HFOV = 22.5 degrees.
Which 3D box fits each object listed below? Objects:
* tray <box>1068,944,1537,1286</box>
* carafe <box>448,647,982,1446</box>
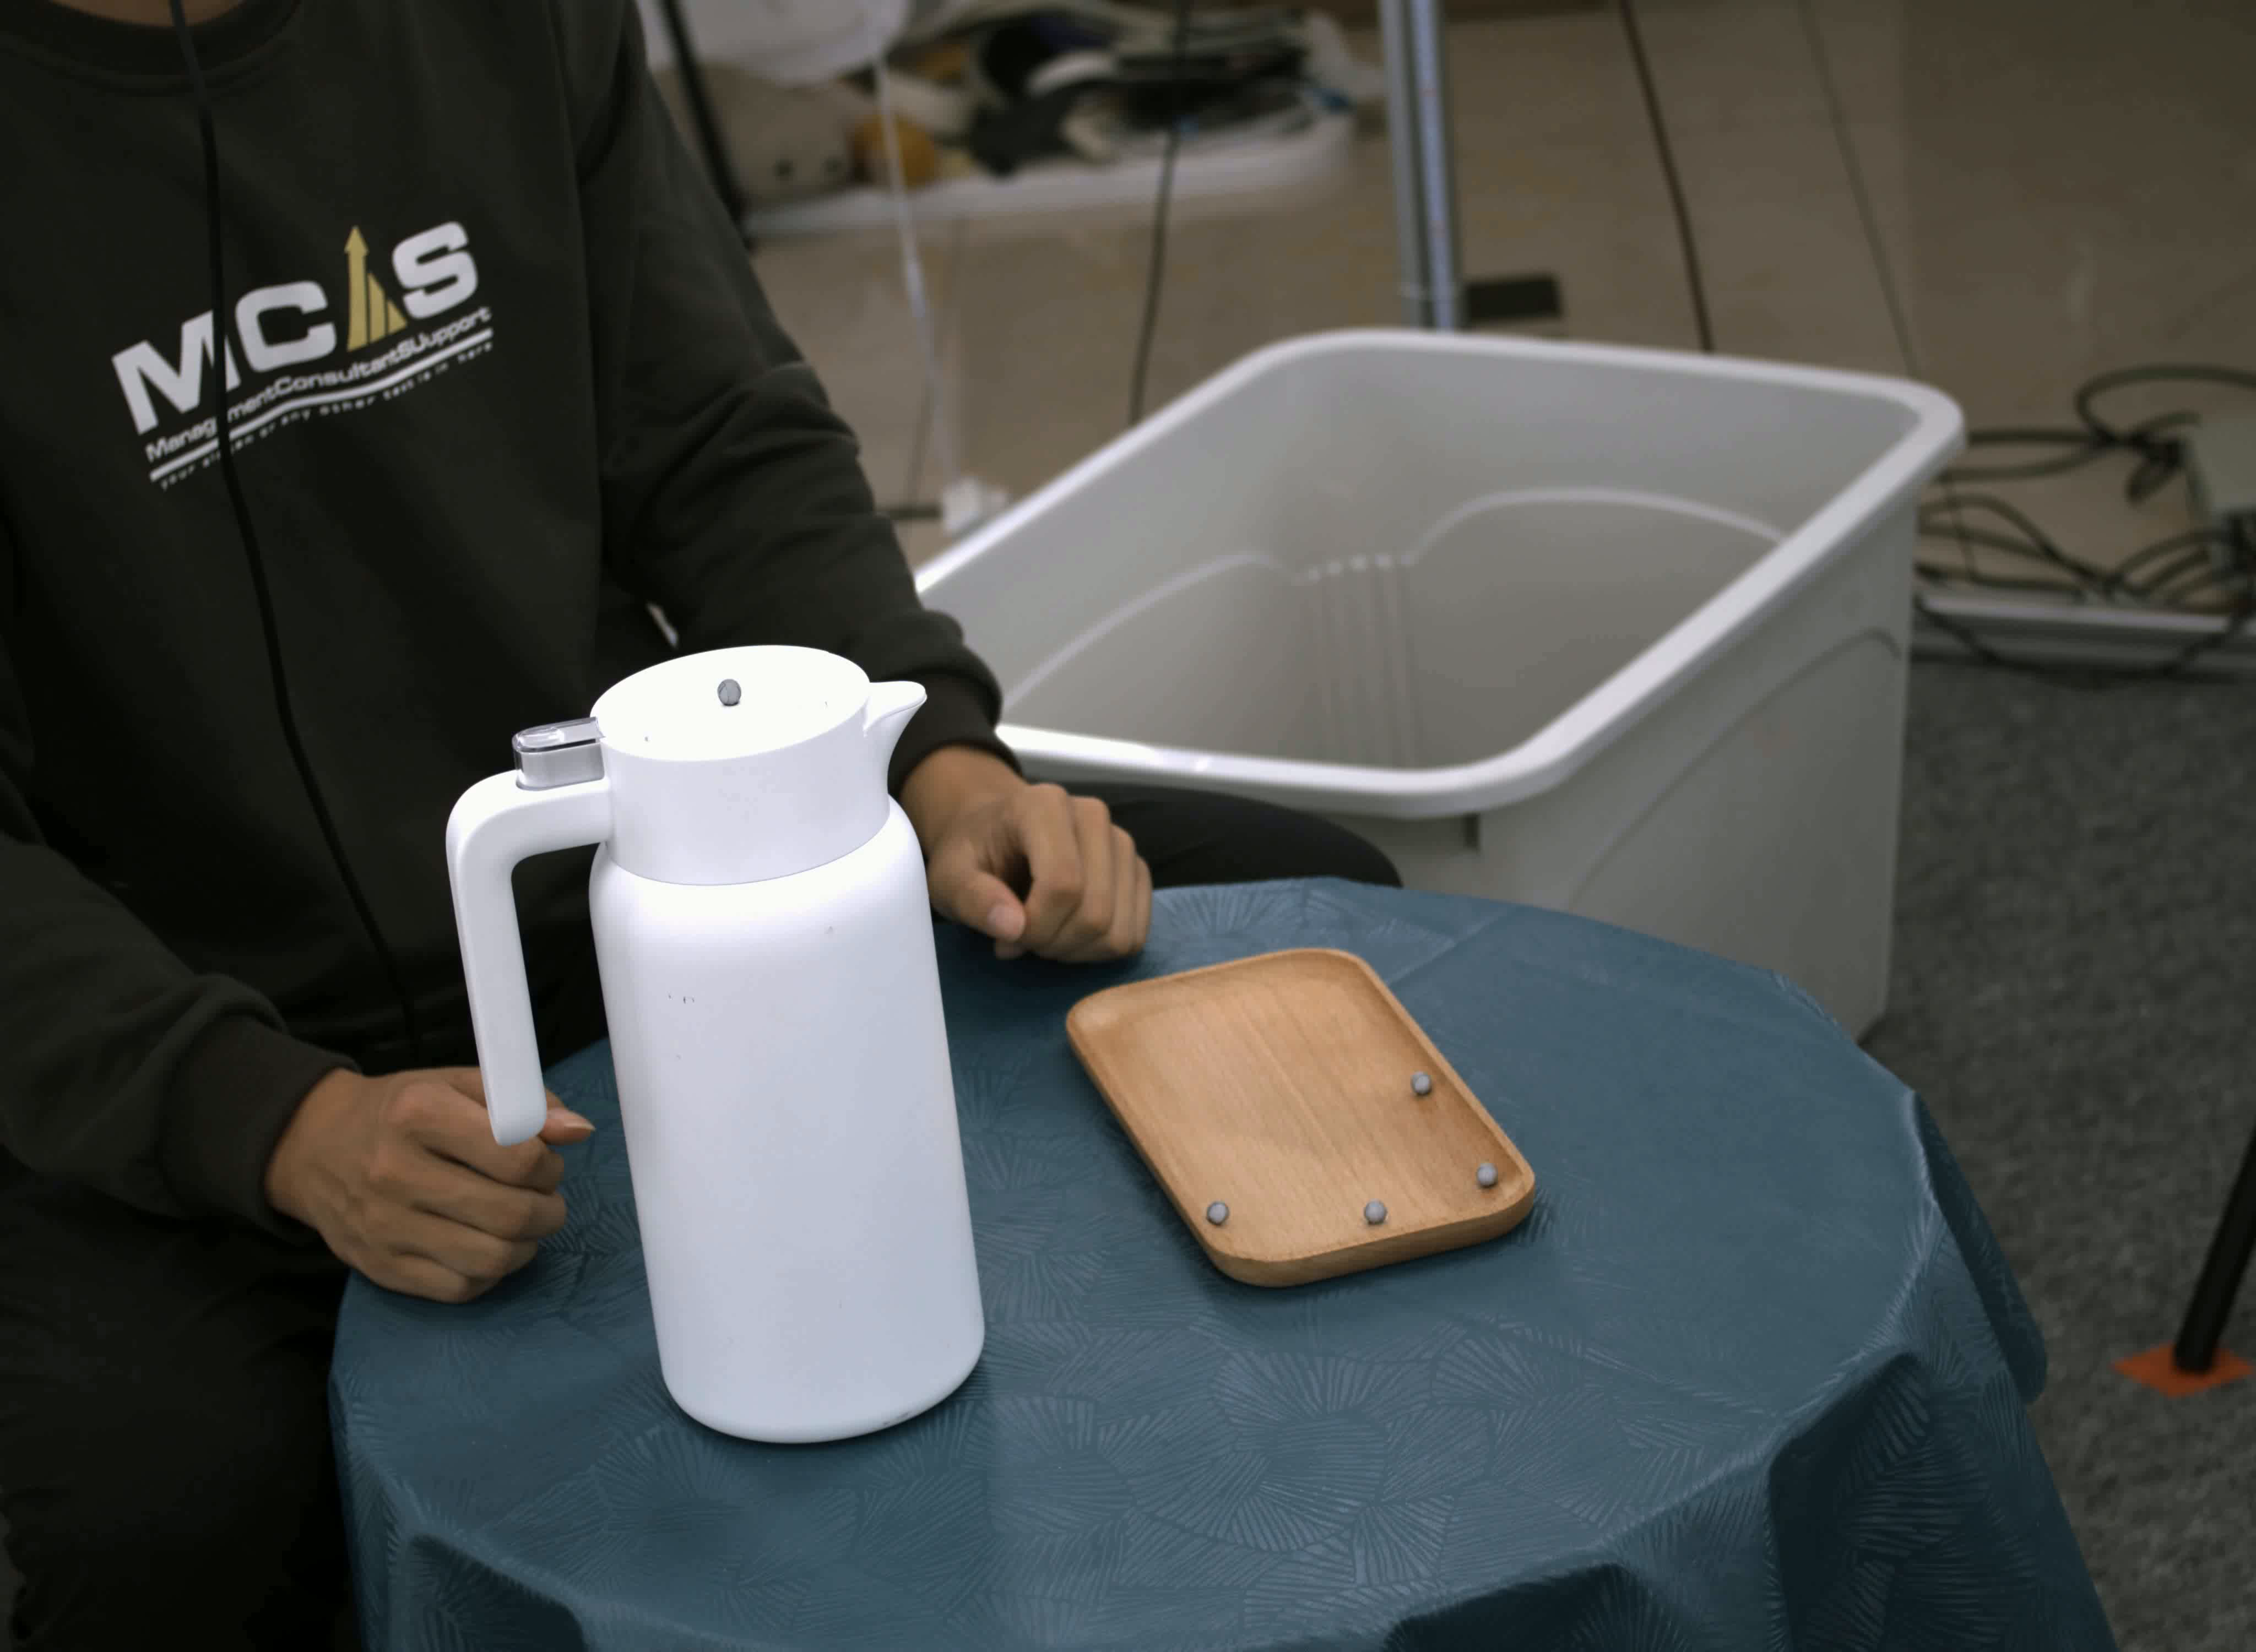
[{"bbox_3d":[0.064,0.109,2.178,0.130,0.023,0.247,-9,24,-12],"label":"tray"},{"bbox_3d":[-0.139,0.081,1.985,0.172,0.273,0.122,-12,28,-11],"label":"carafe"}]
